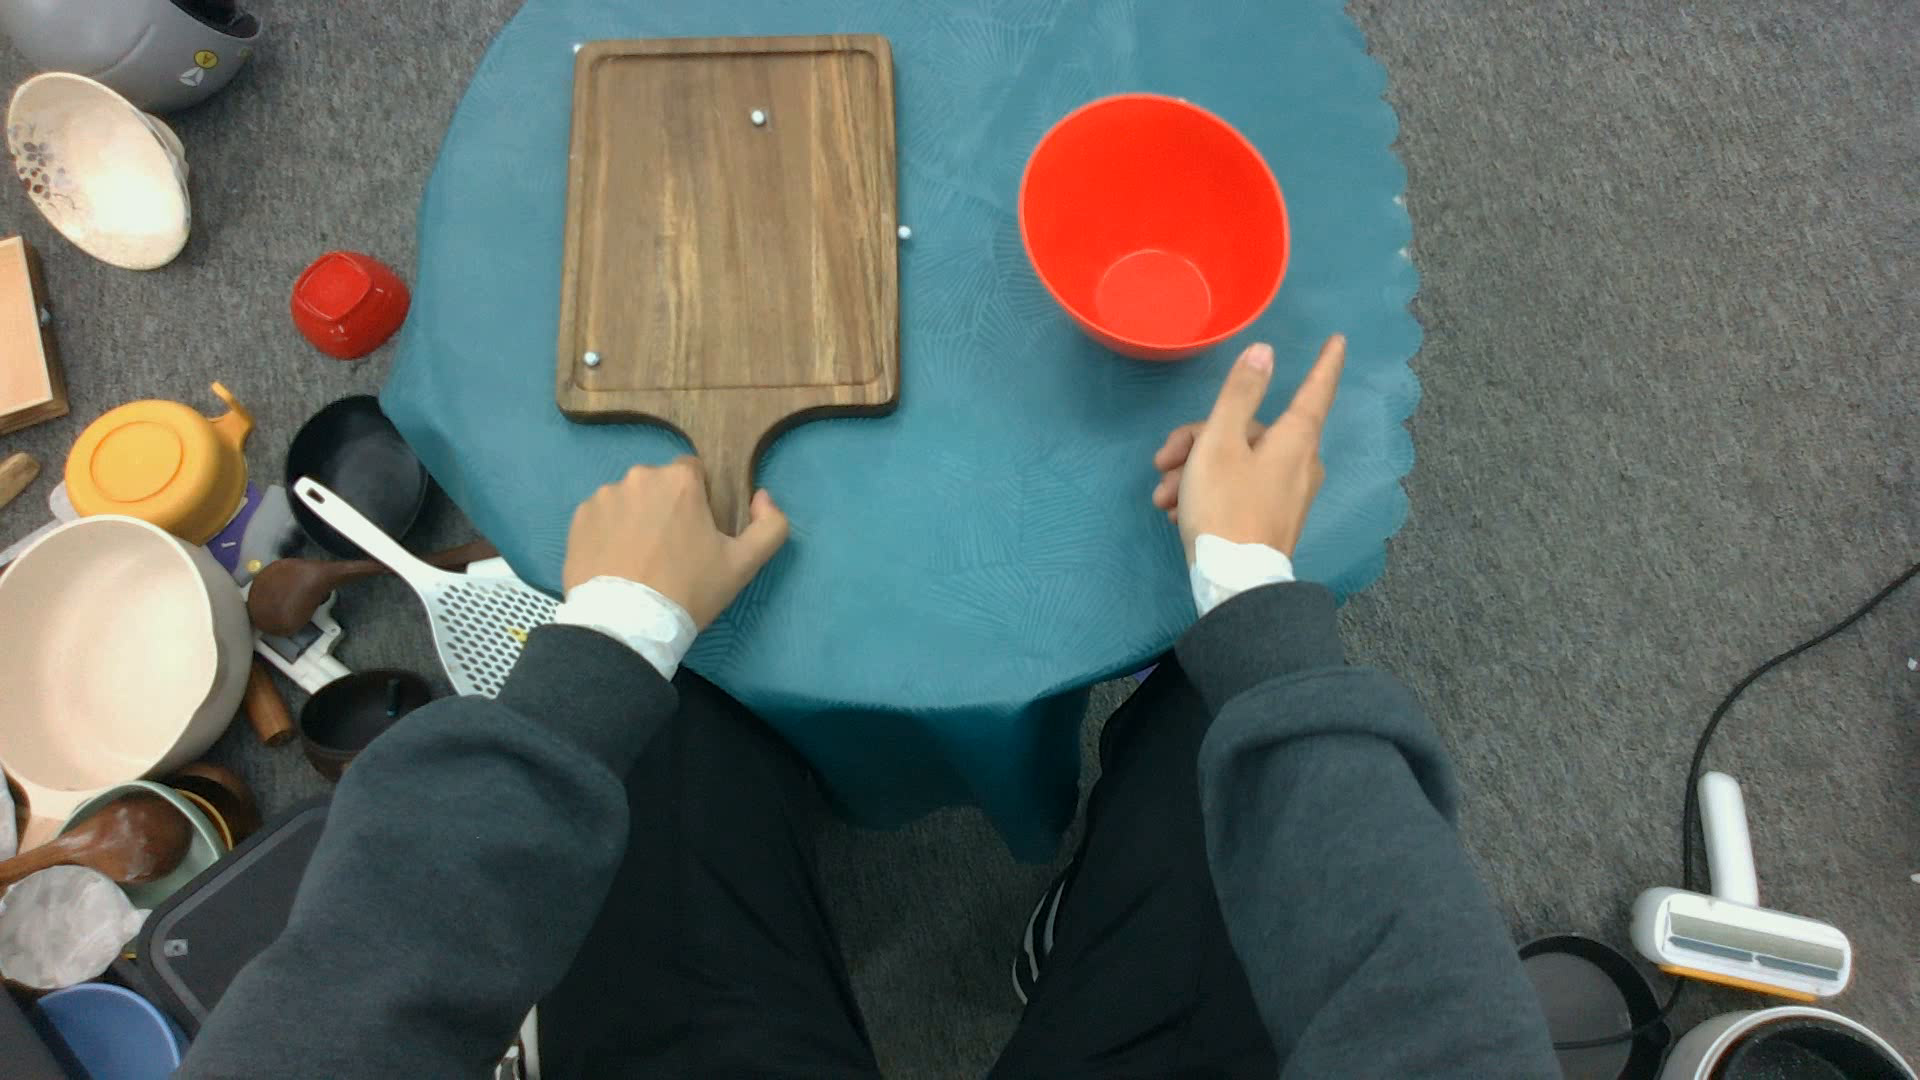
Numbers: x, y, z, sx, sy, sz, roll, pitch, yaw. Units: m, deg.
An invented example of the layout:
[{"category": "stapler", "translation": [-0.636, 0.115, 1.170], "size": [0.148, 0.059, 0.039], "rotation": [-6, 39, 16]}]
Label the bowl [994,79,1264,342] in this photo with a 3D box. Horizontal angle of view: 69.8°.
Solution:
[{"category": "bowl", "translation": [0.091, -0.170, 0.775], "size": [0.148, 0.104, 0.148], "rotation": [0, 72, -1]}]

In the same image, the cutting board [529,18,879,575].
[{"category": "cutting board", "translation": [-0.150, -0.151, 0.807], "size": [0.201, 0.023, 0.353], "rotation": [-2, 73, -2]}]
